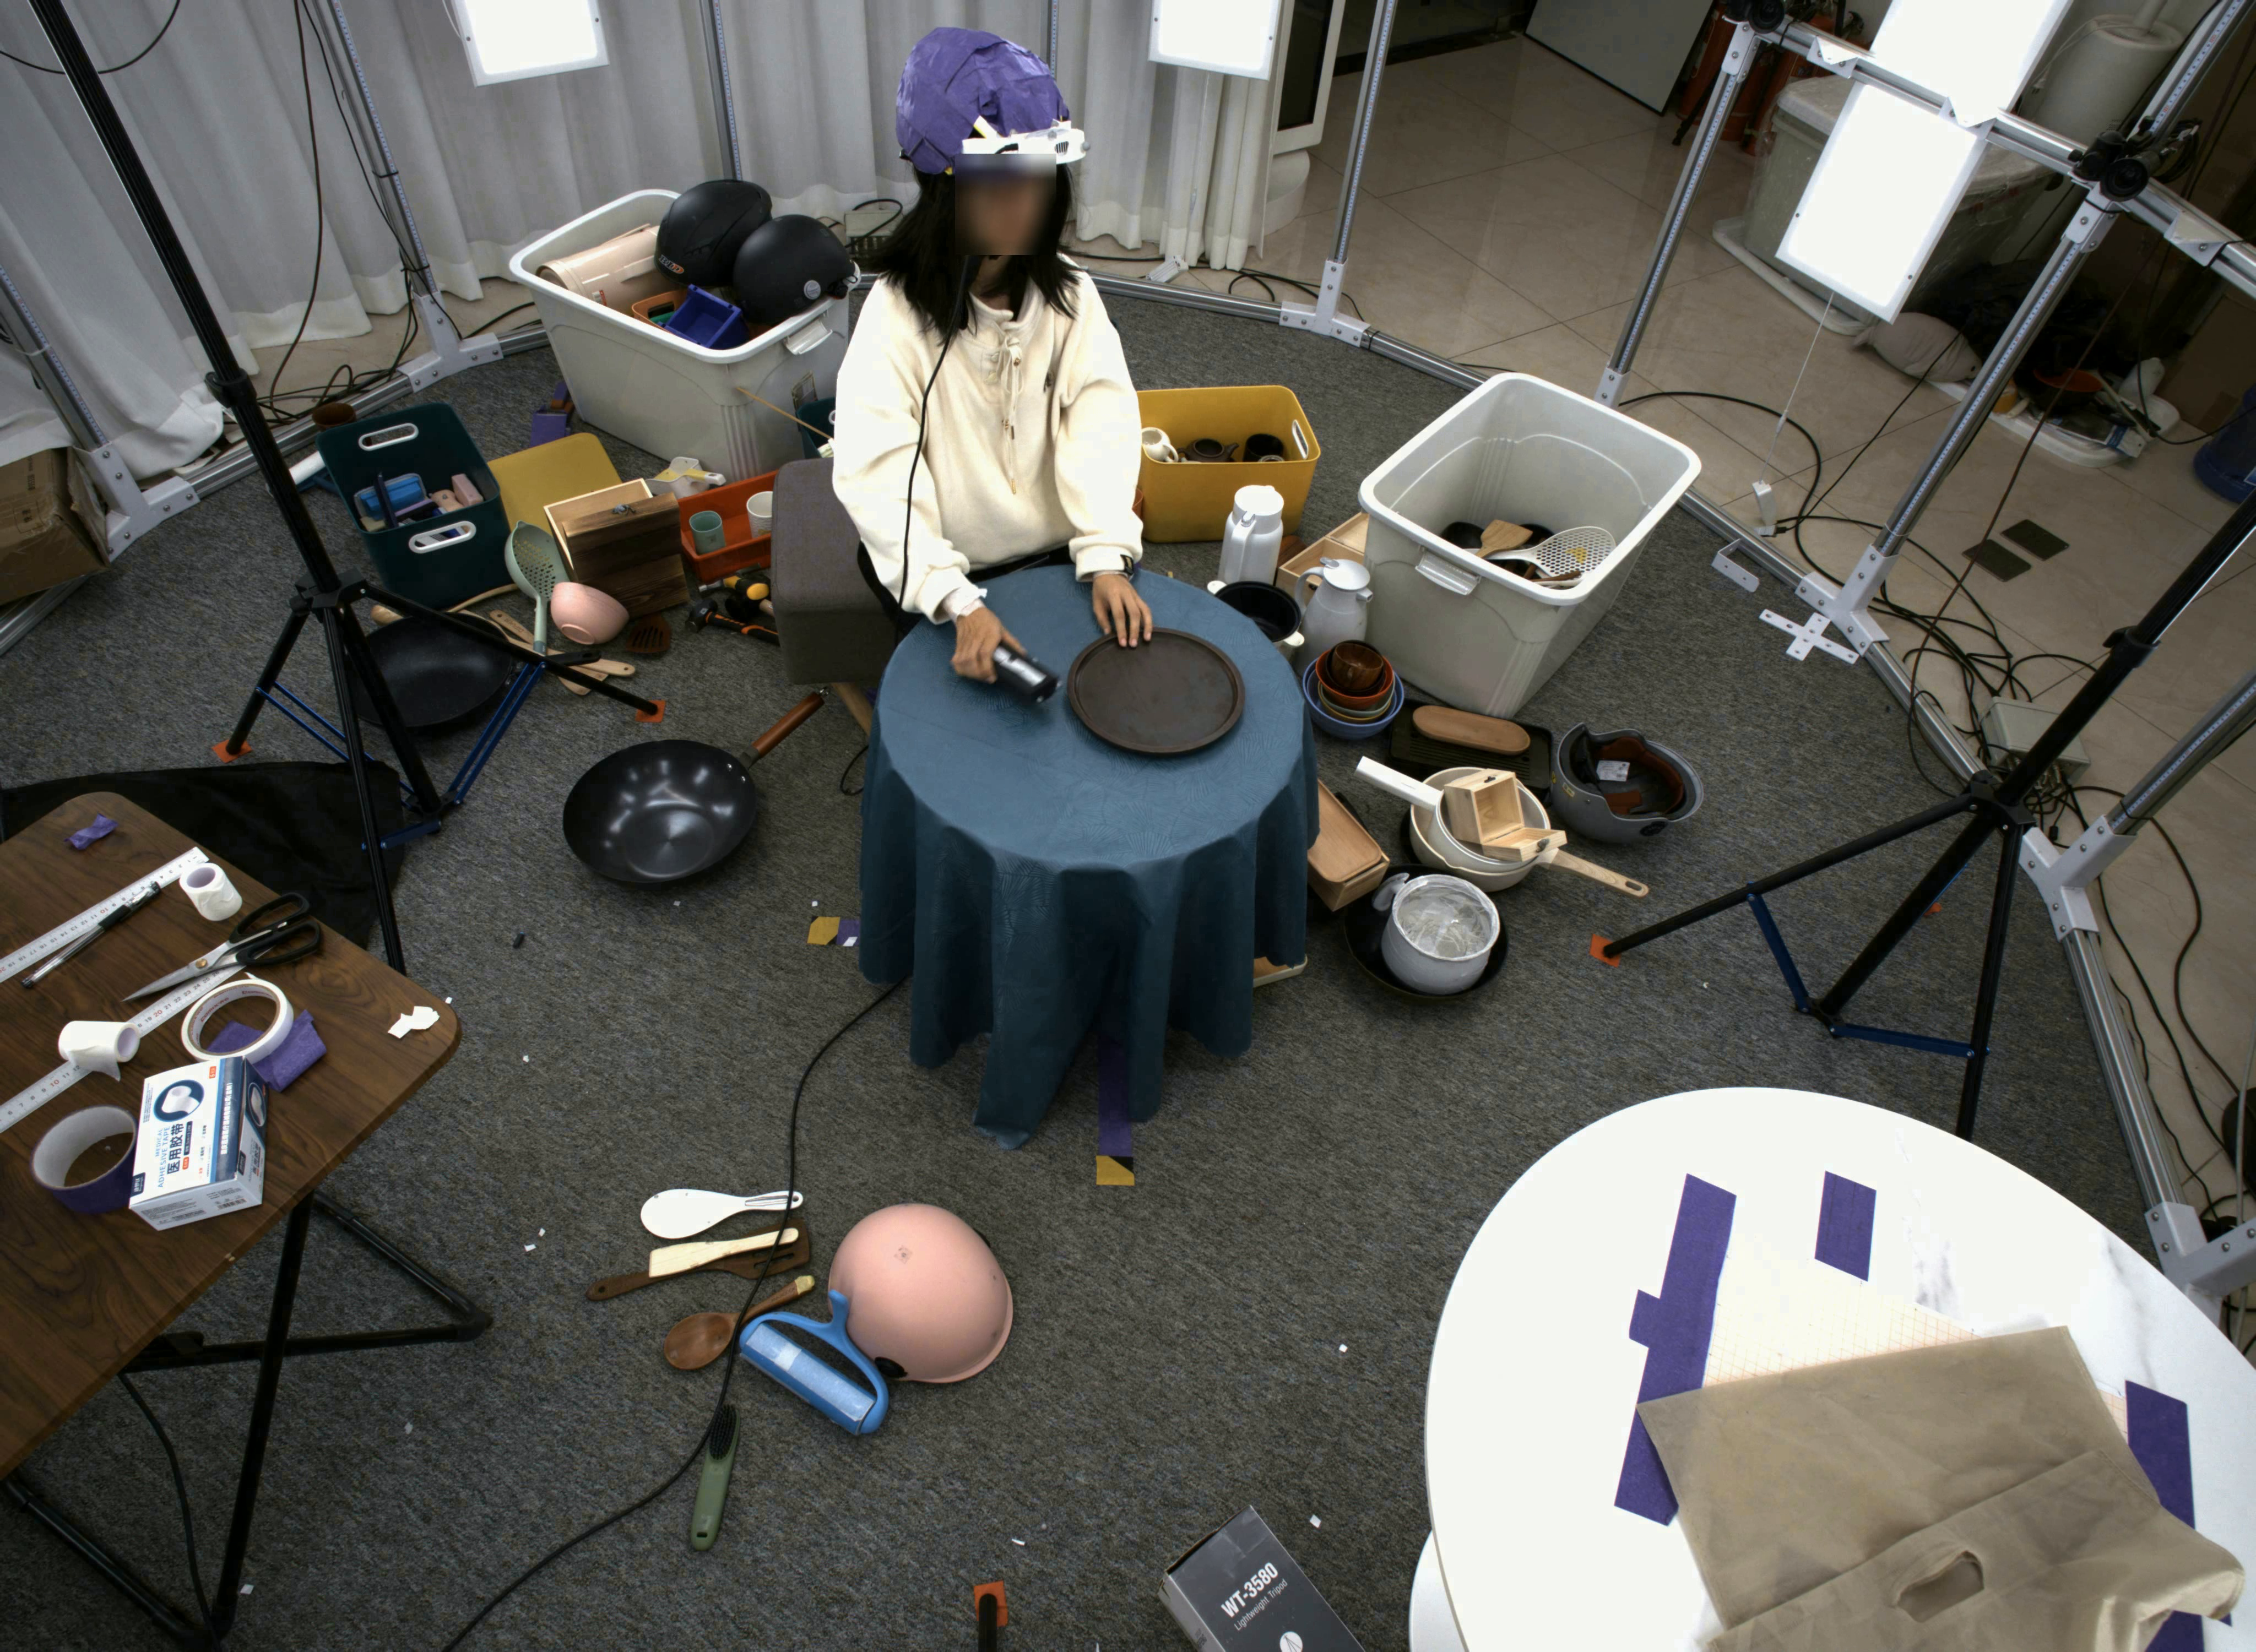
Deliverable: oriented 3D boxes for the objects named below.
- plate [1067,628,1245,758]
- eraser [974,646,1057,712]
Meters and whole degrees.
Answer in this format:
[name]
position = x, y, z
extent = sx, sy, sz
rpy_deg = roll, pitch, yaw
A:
[plate]
position = 0.040, -0.192, 1.823
extent = 0.254, 0.028, 0.261
rpy_deg = 2, 50, -3
[eraser]
position = -0.157, -0.207, 1.798
extent = 0.054, 0.030, 0.128
rpy_deg = -32, 50, -27
